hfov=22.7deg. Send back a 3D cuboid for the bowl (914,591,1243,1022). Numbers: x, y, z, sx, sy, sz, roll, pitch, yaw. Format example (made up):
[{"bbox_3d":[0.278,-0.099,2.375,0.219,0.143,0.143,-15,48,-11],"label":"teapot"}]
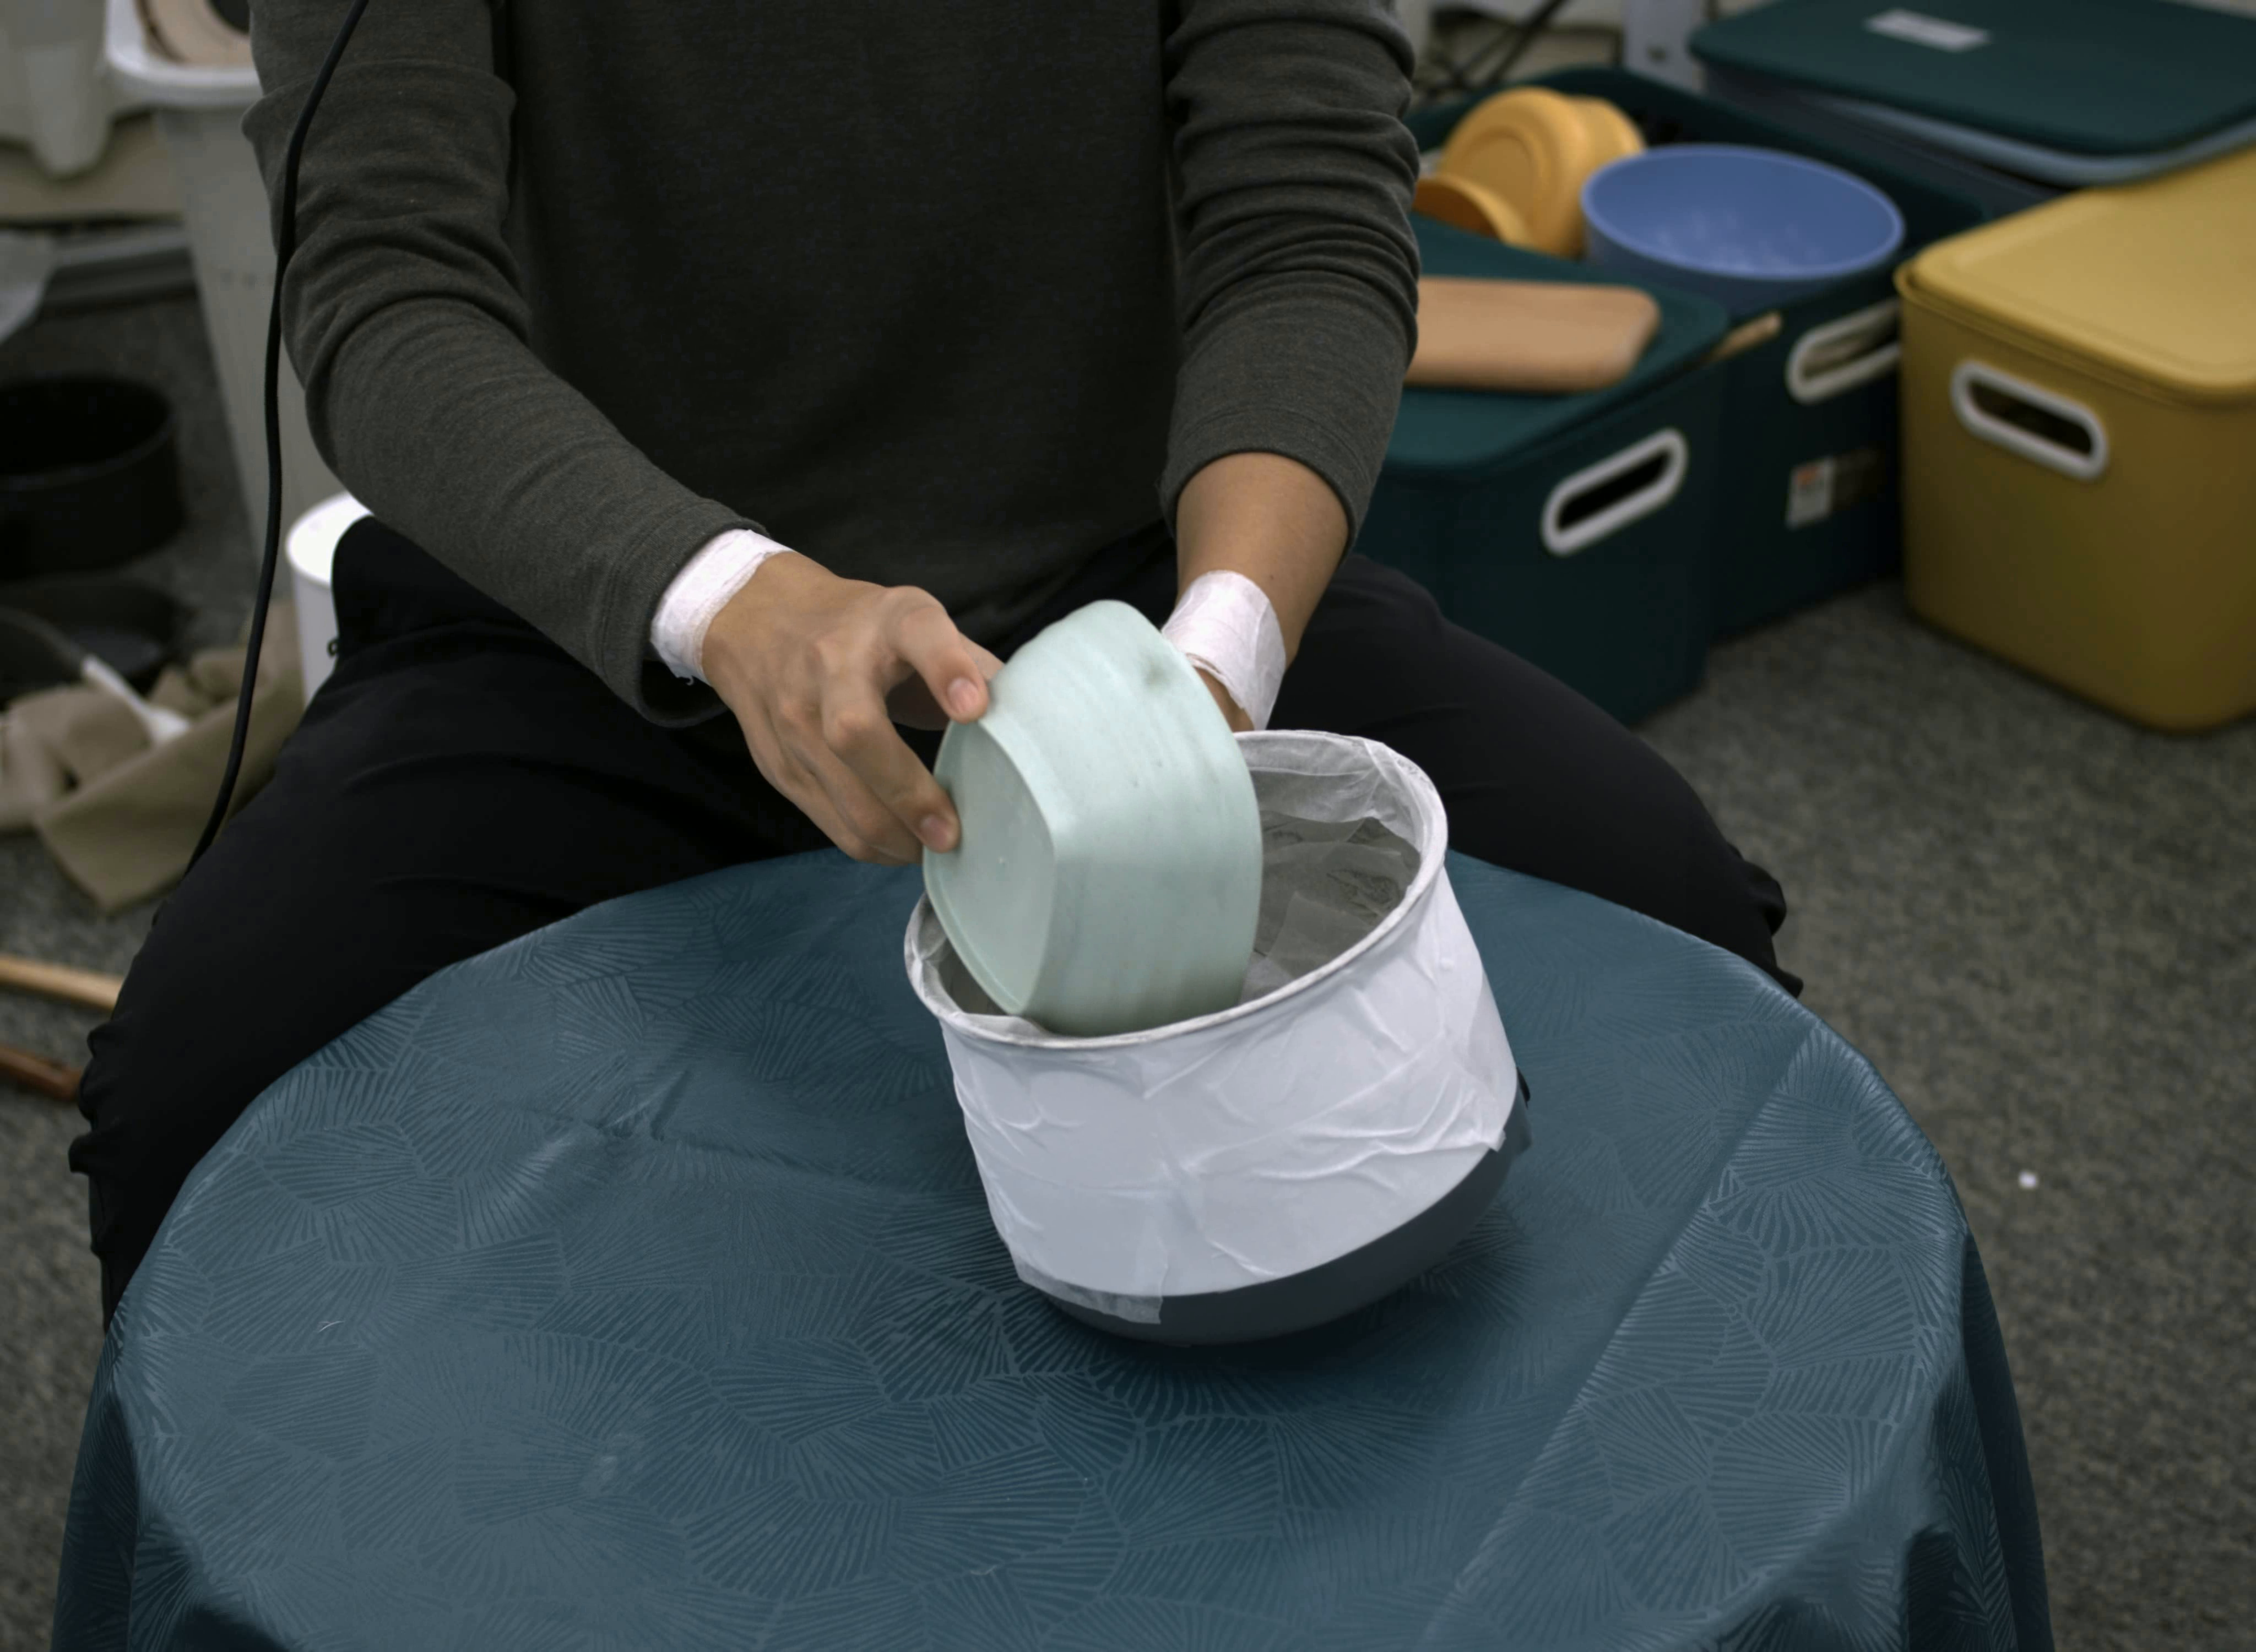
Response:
[{"bbox_3d":[-0.022,0.004,1.748,0.059,0.150,0.152,-6,26,-26],"label":"bowl"}]

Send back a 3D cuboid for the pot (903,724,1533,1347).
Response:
[{"bbox_3d":[0.024,0.057,1.814,0.178,0.135,0.236,-19,29,-5],"label":"pot"}]
